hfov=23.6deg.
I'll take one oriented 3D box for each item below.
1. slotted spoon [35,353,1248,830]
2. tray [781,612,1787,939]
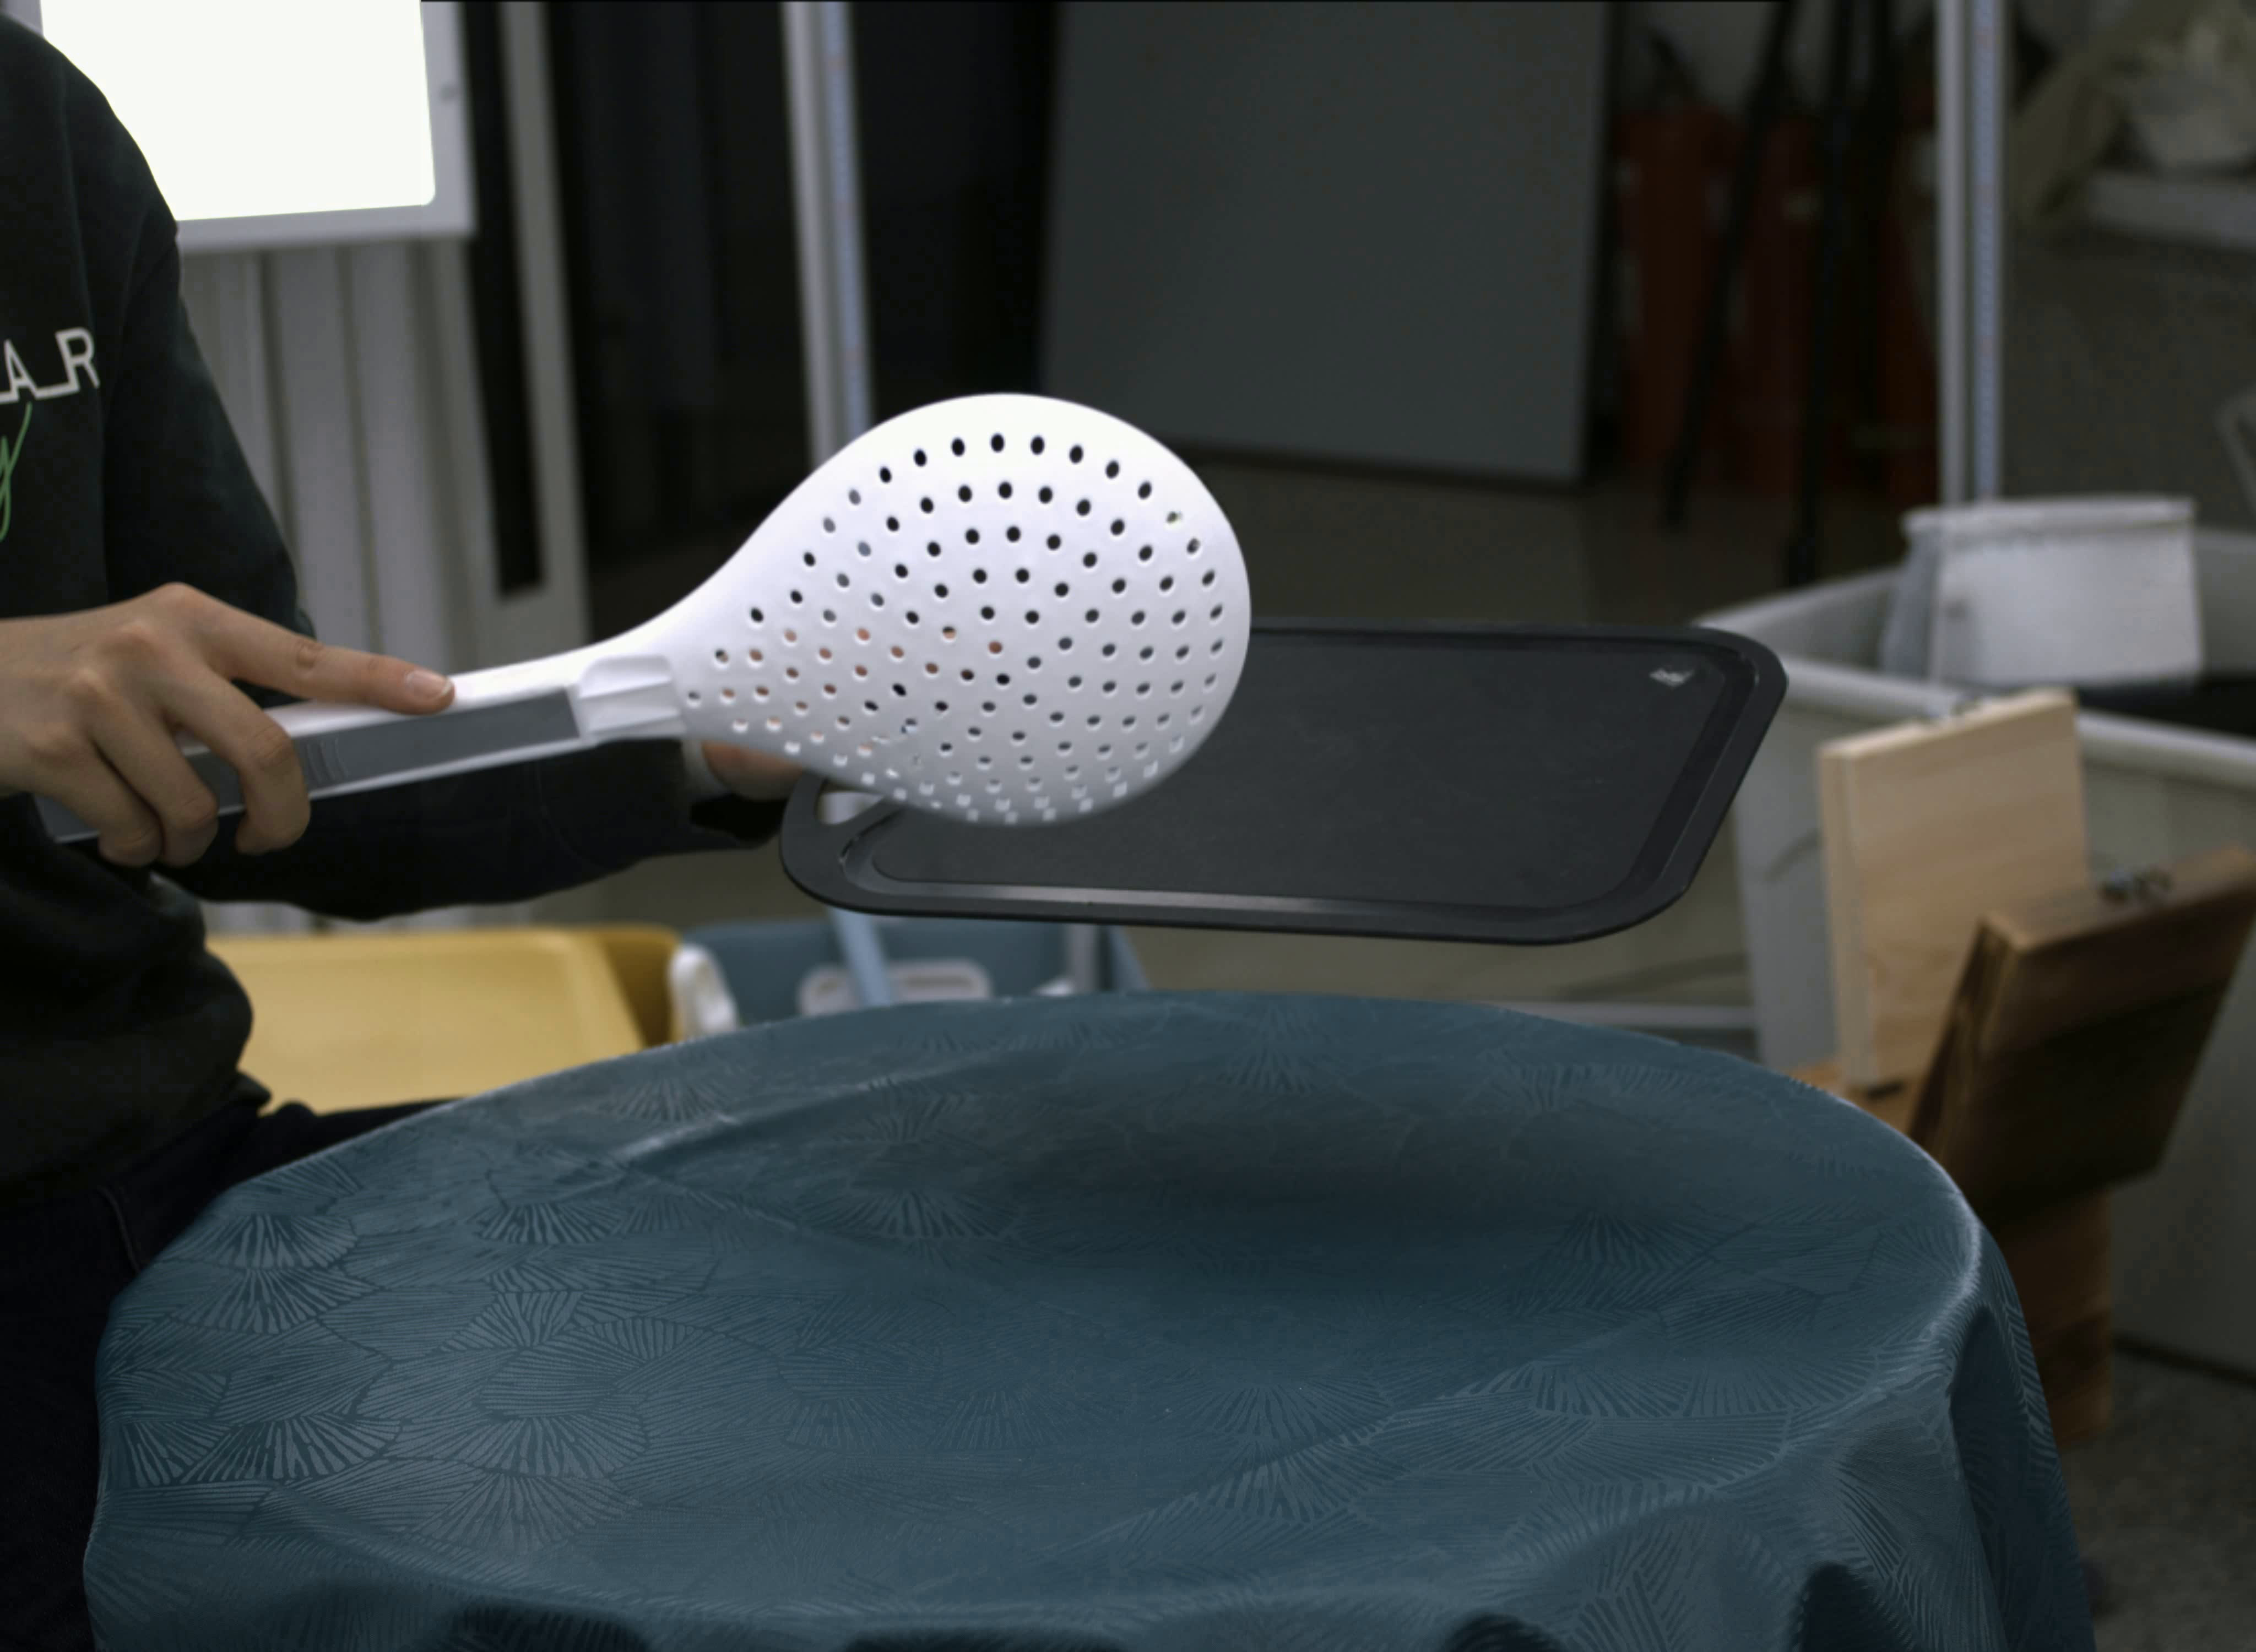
[{"bbox_3d":[-0.138,-0.045,1.507,0.348,0.136,0.046,-8,30,13],"label":"slotted spoon"},{"bbox_3d":[0.044,-0.022,1.766,0.325,0.010,0.210,2,30,23],"label":"tray"}]
